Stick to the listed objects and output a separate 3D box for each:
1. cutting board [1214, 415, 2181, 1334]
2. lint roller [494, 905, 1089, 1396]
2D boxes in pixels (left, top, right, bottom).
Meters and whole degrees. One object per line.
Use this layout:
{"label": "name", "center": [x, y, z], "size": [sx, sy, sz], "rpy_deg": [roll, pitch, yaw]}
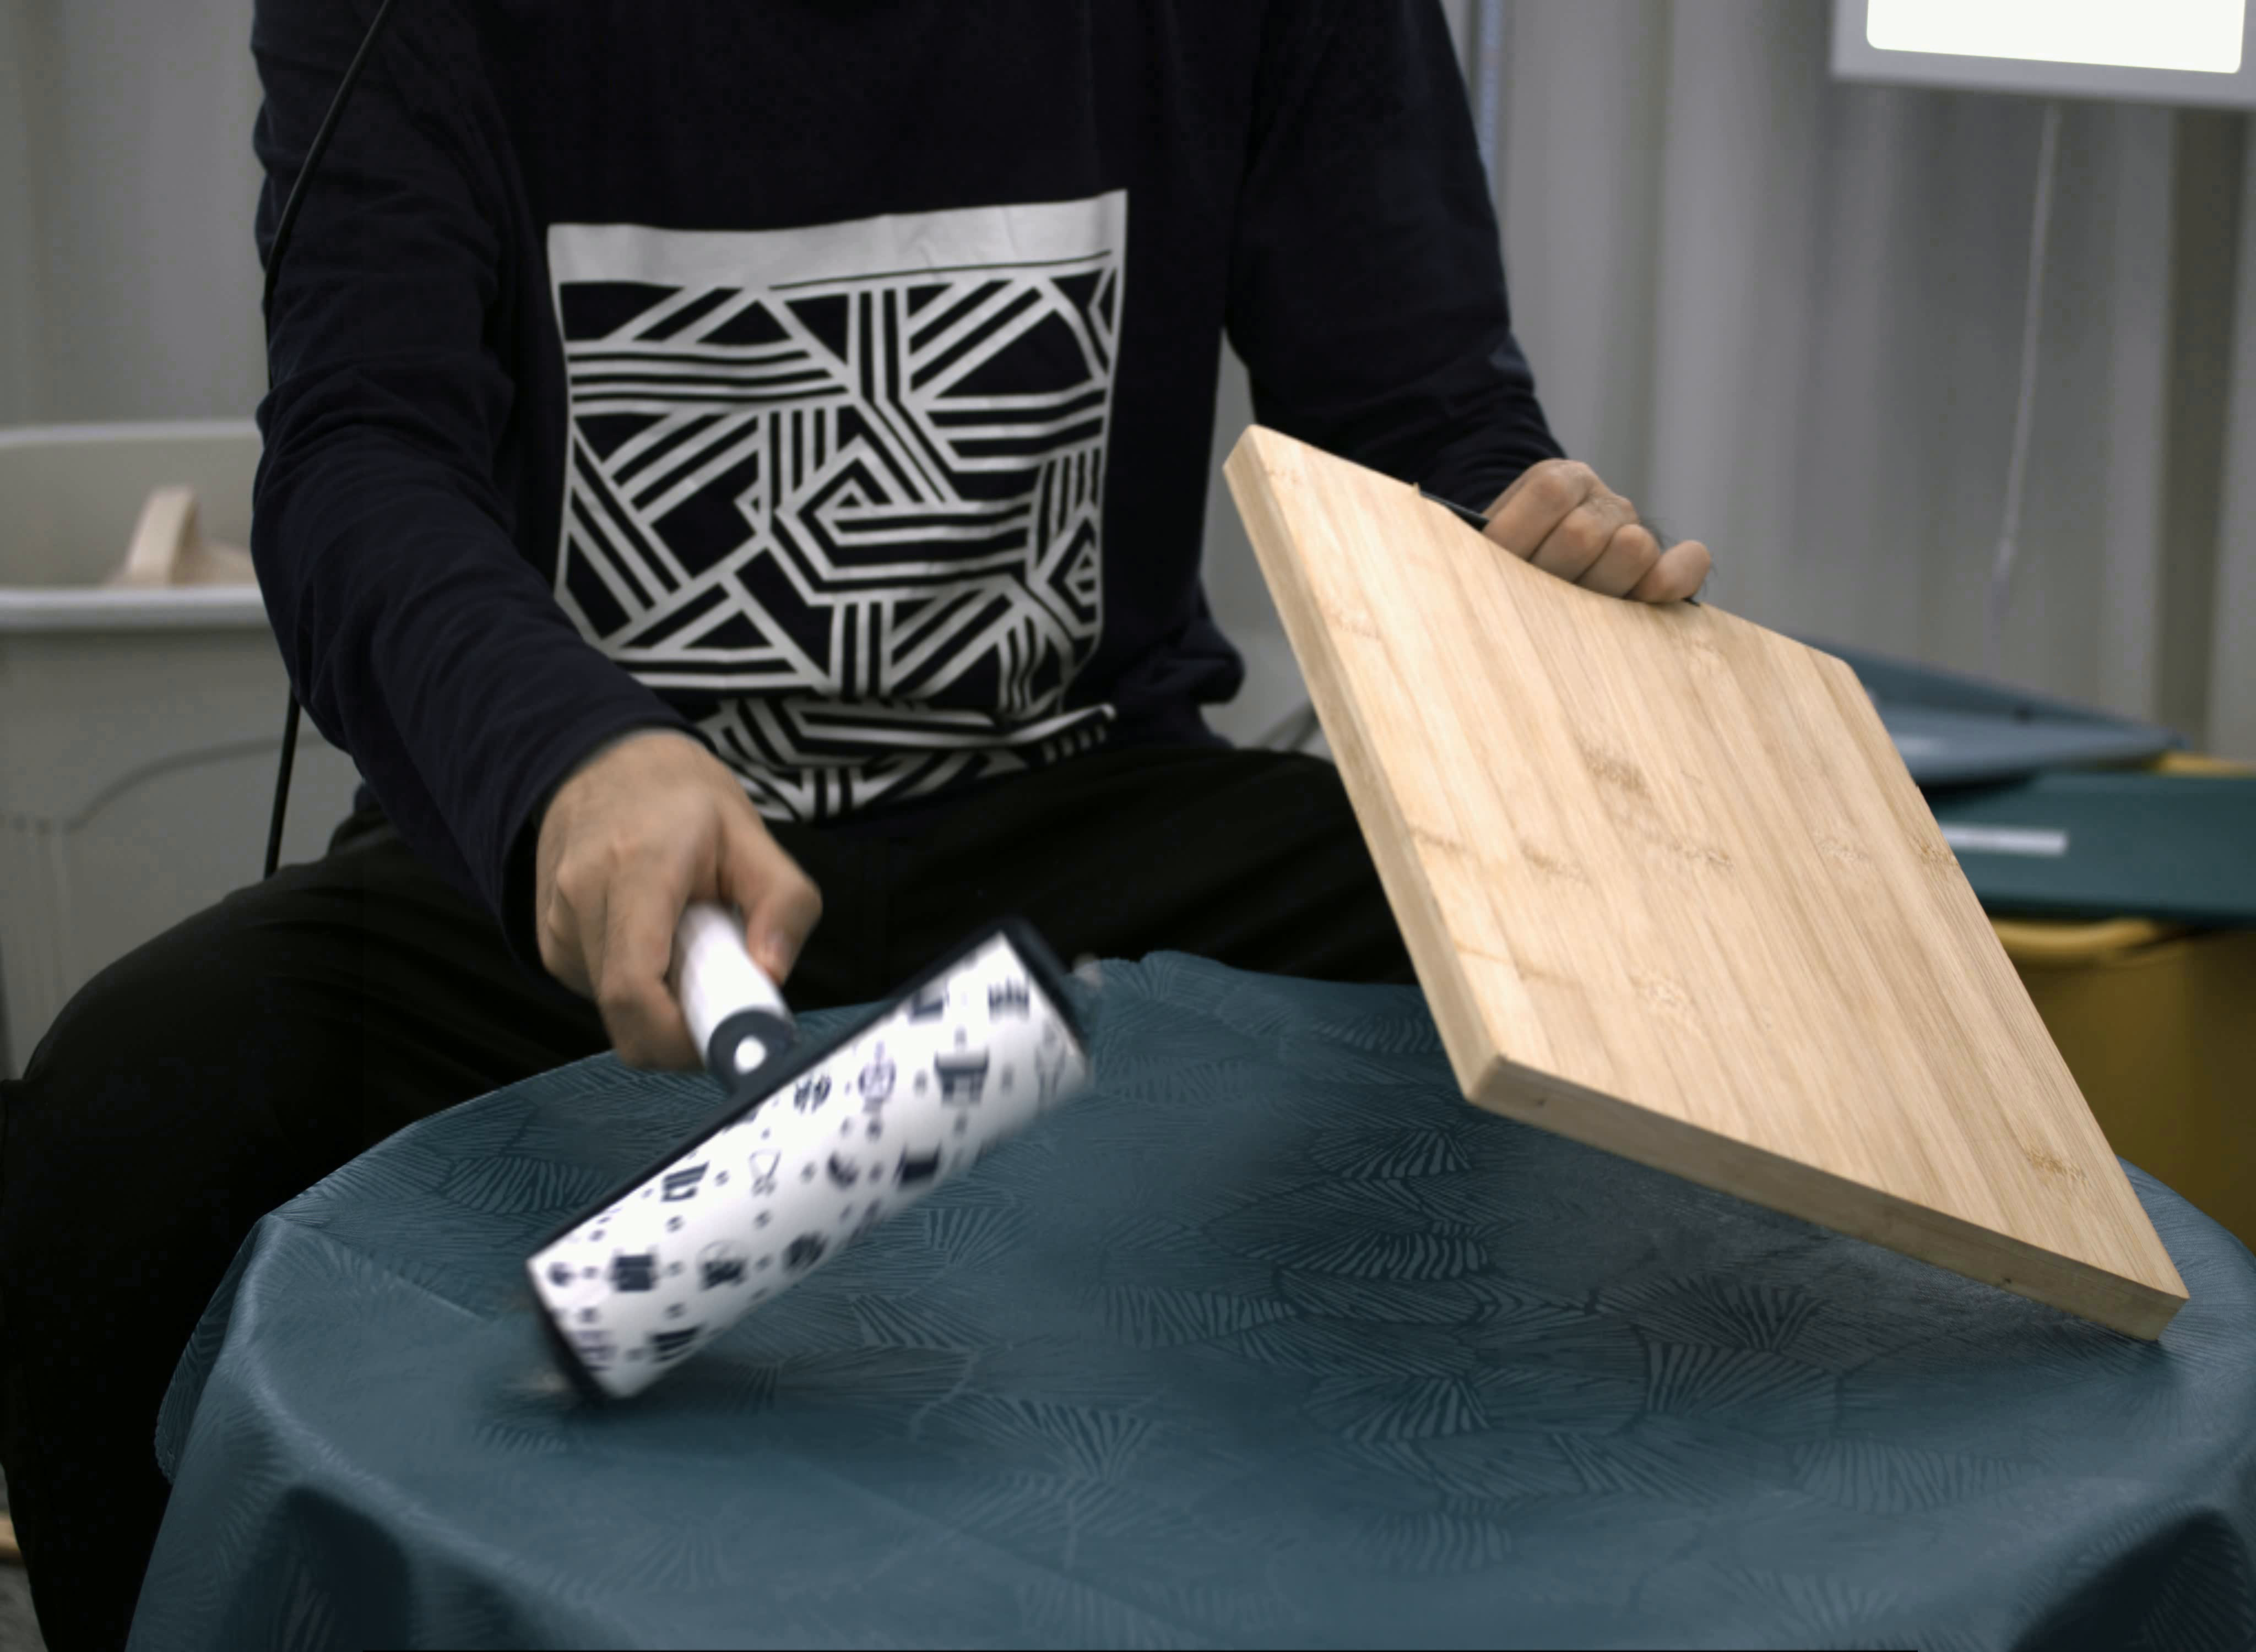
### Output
{"label": "cutting board", "center": [0.163, 0.008, 1.593], "size": [0.252, 0.023, 0.344], "rpy_deg": [20, 28, -26]}
{"label": "lint roller", "center": [-0.116, 0.066, 1.540], "size": [0.176, 0.051, 0.244], "rpy_deg": [-31, 24, -3]}
